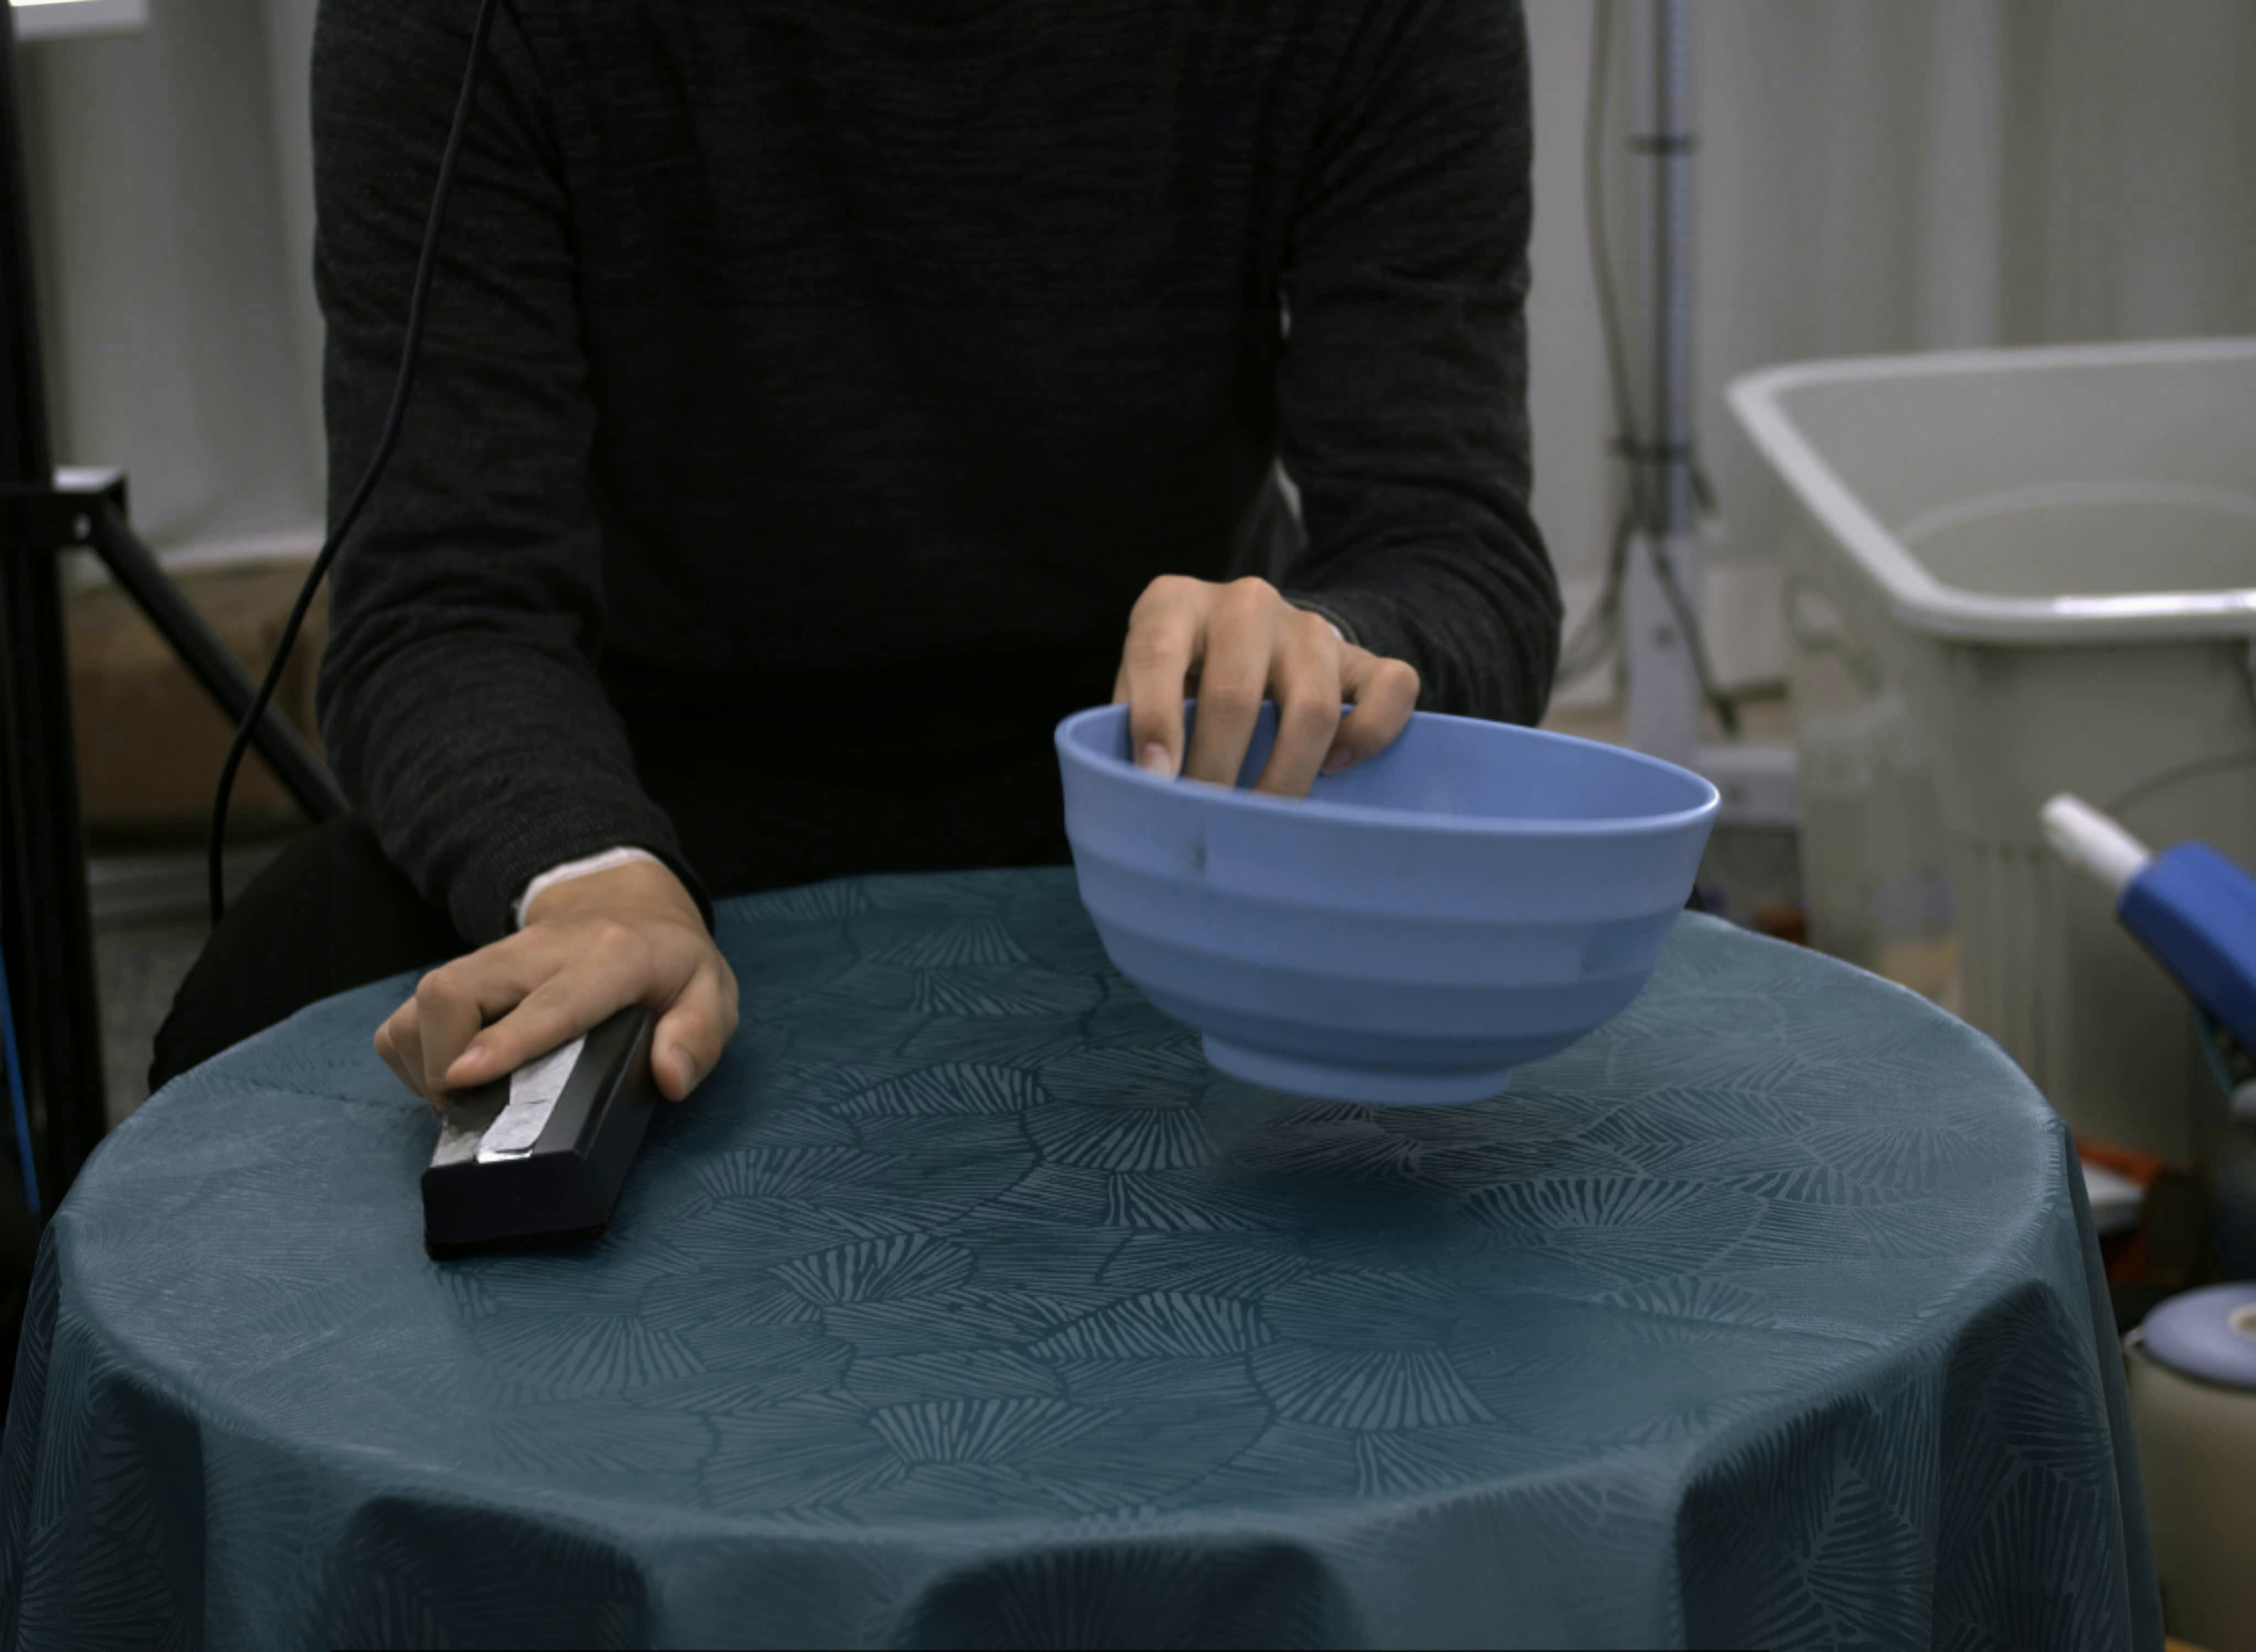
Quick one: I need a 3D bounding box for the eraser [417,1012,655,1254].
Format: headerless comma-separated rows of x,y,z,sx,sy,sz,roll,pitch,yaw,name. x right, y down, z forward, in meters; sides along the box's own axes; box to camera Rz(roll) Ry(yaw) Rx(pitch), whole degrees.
-0.173,0.090,1.581,0.053,0.030,0.126,-6,17,5,eraser

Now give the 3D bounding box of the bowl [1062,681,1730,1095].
0.078,0.022,1.567,0.195,0.095,0.197,0,12,-1,bowl
